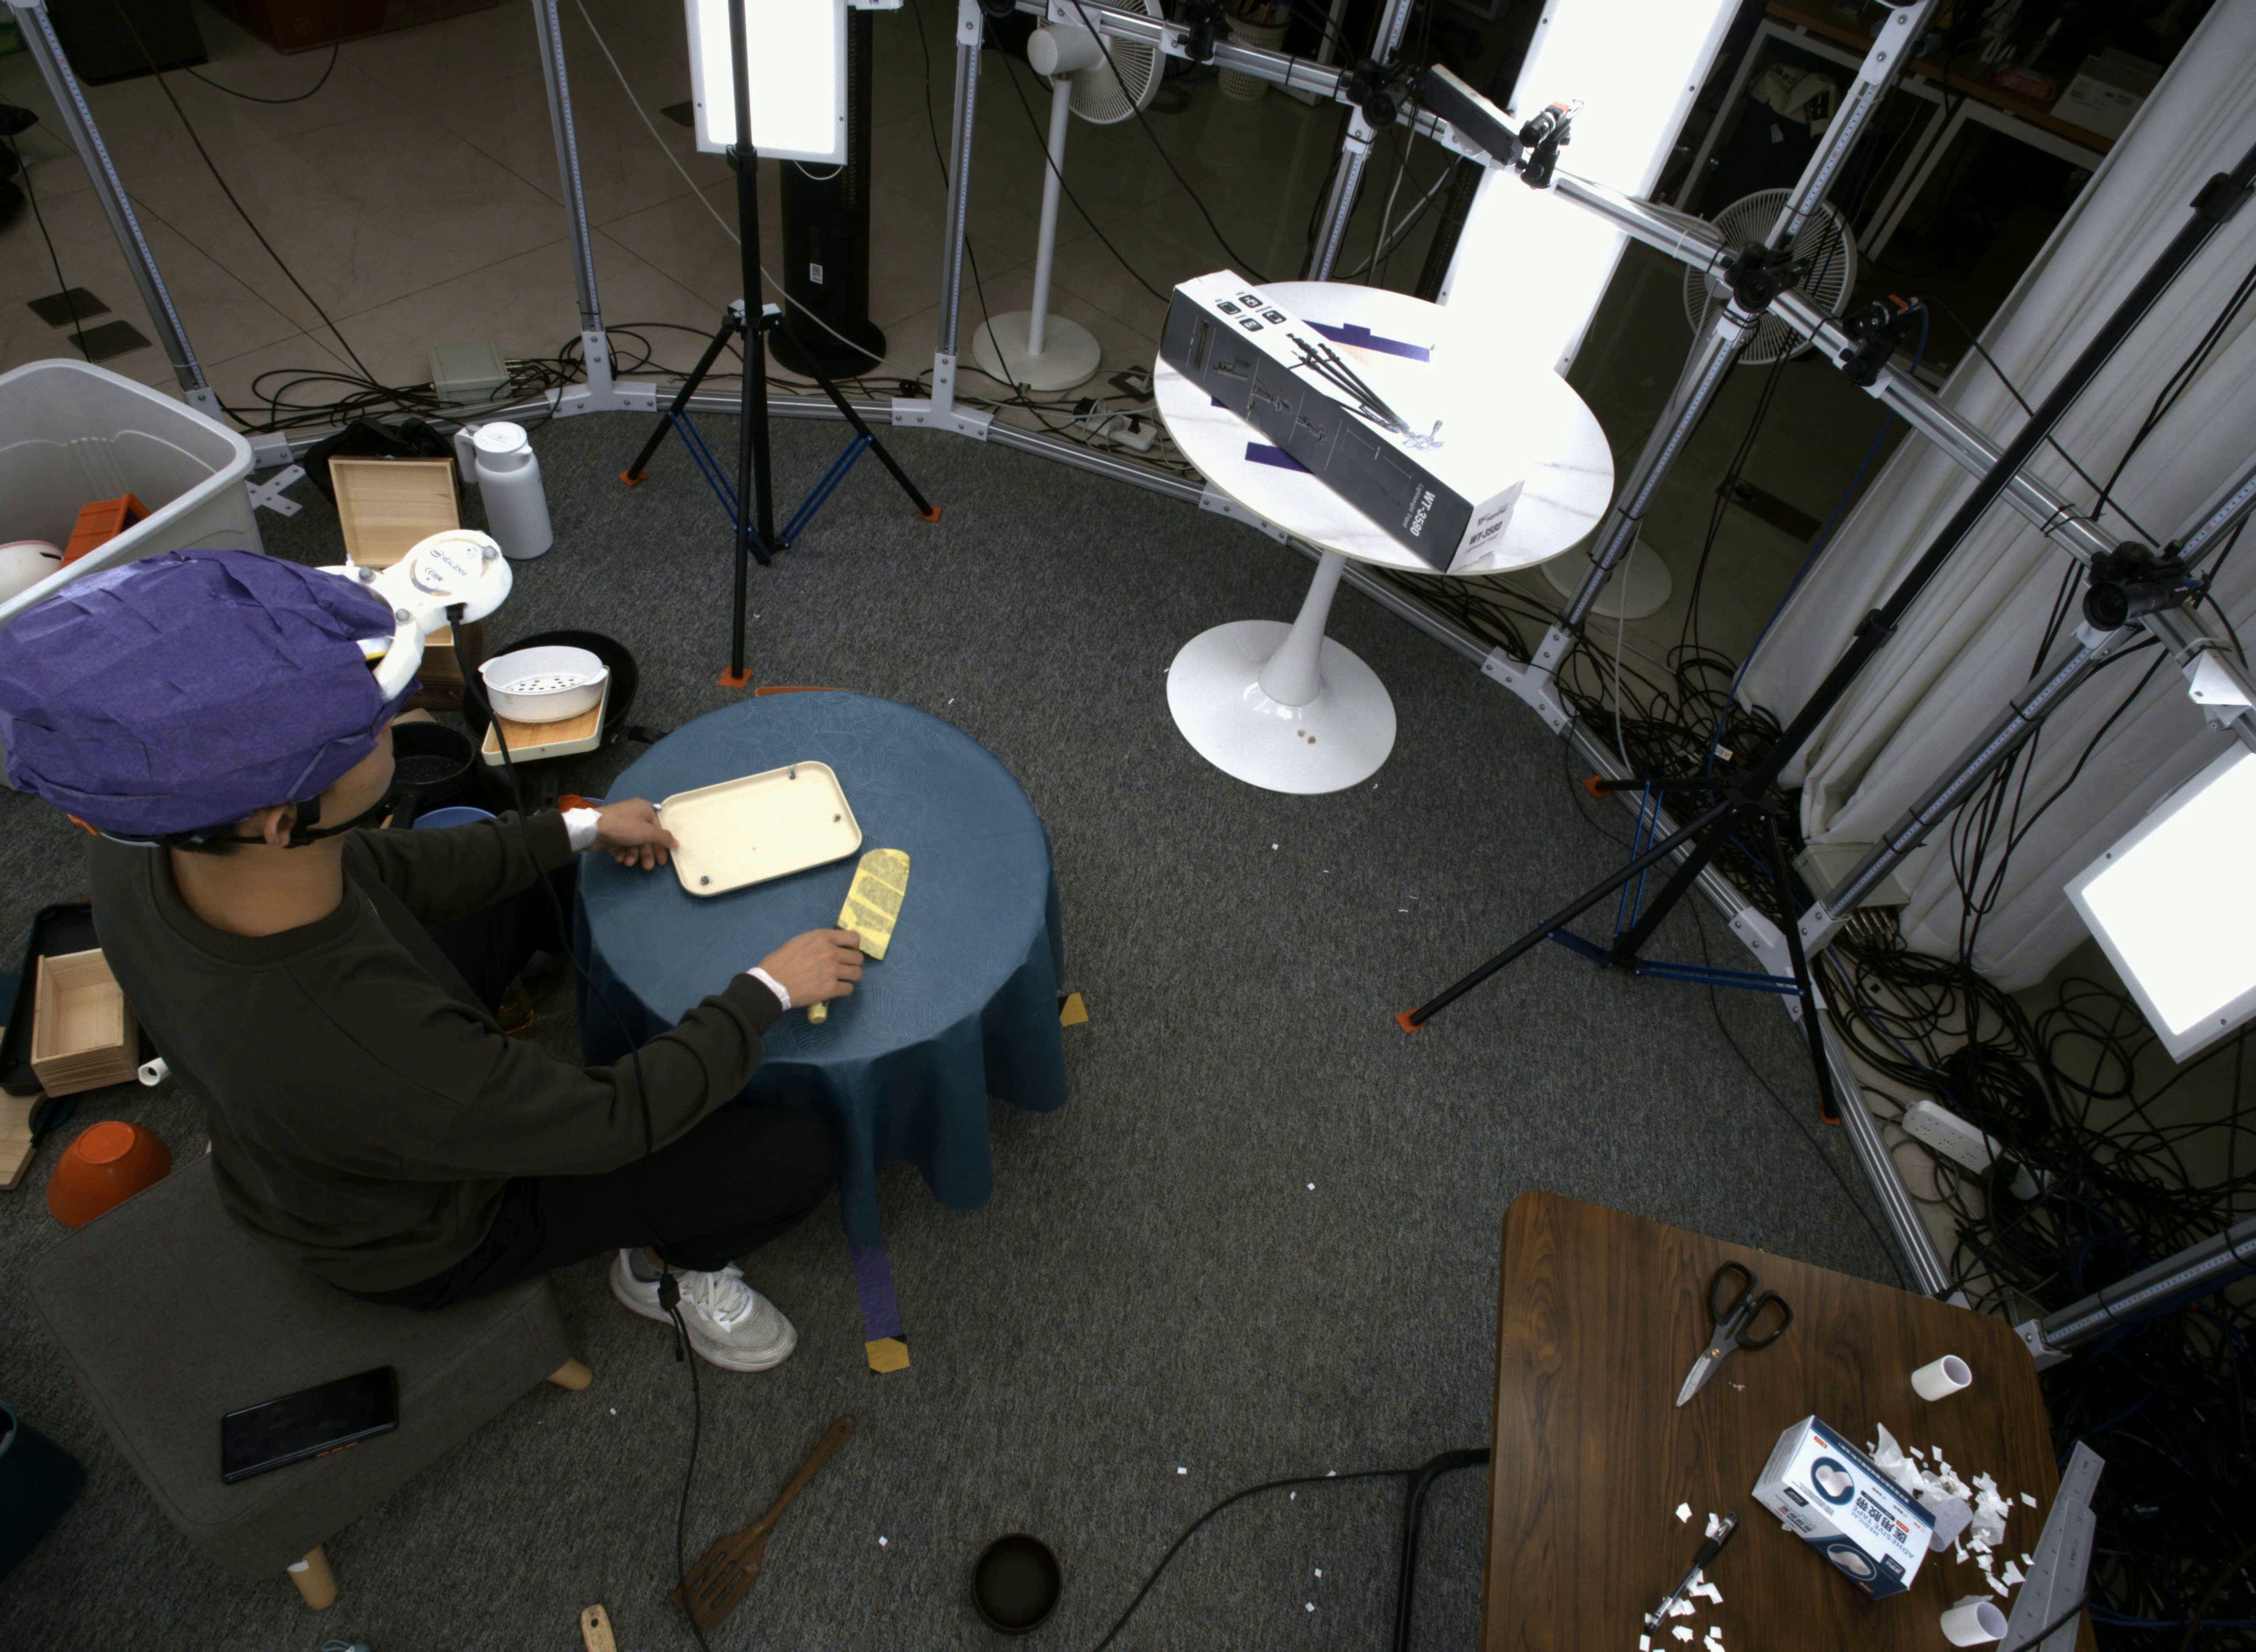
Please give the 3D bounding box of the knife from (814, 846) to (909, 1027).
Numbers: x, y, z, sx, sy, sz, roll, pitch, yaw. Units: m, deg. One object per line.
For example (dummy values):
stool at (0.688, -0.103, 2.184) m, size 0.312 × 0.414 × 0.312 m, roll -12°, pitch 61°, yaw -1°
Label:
knife at (-0.333, 0.133, 1.635) m, size 0.082 × 0.027 × 0.285 m, roll 32°, pitch 47°, yaw -20°

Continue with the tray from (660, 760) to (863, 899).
tray at (-0.483, 0.002, 1.707) m, size 0.241 × 0.018 × 0.167 m, roll -17°, pitch 61°, yaw -25°
